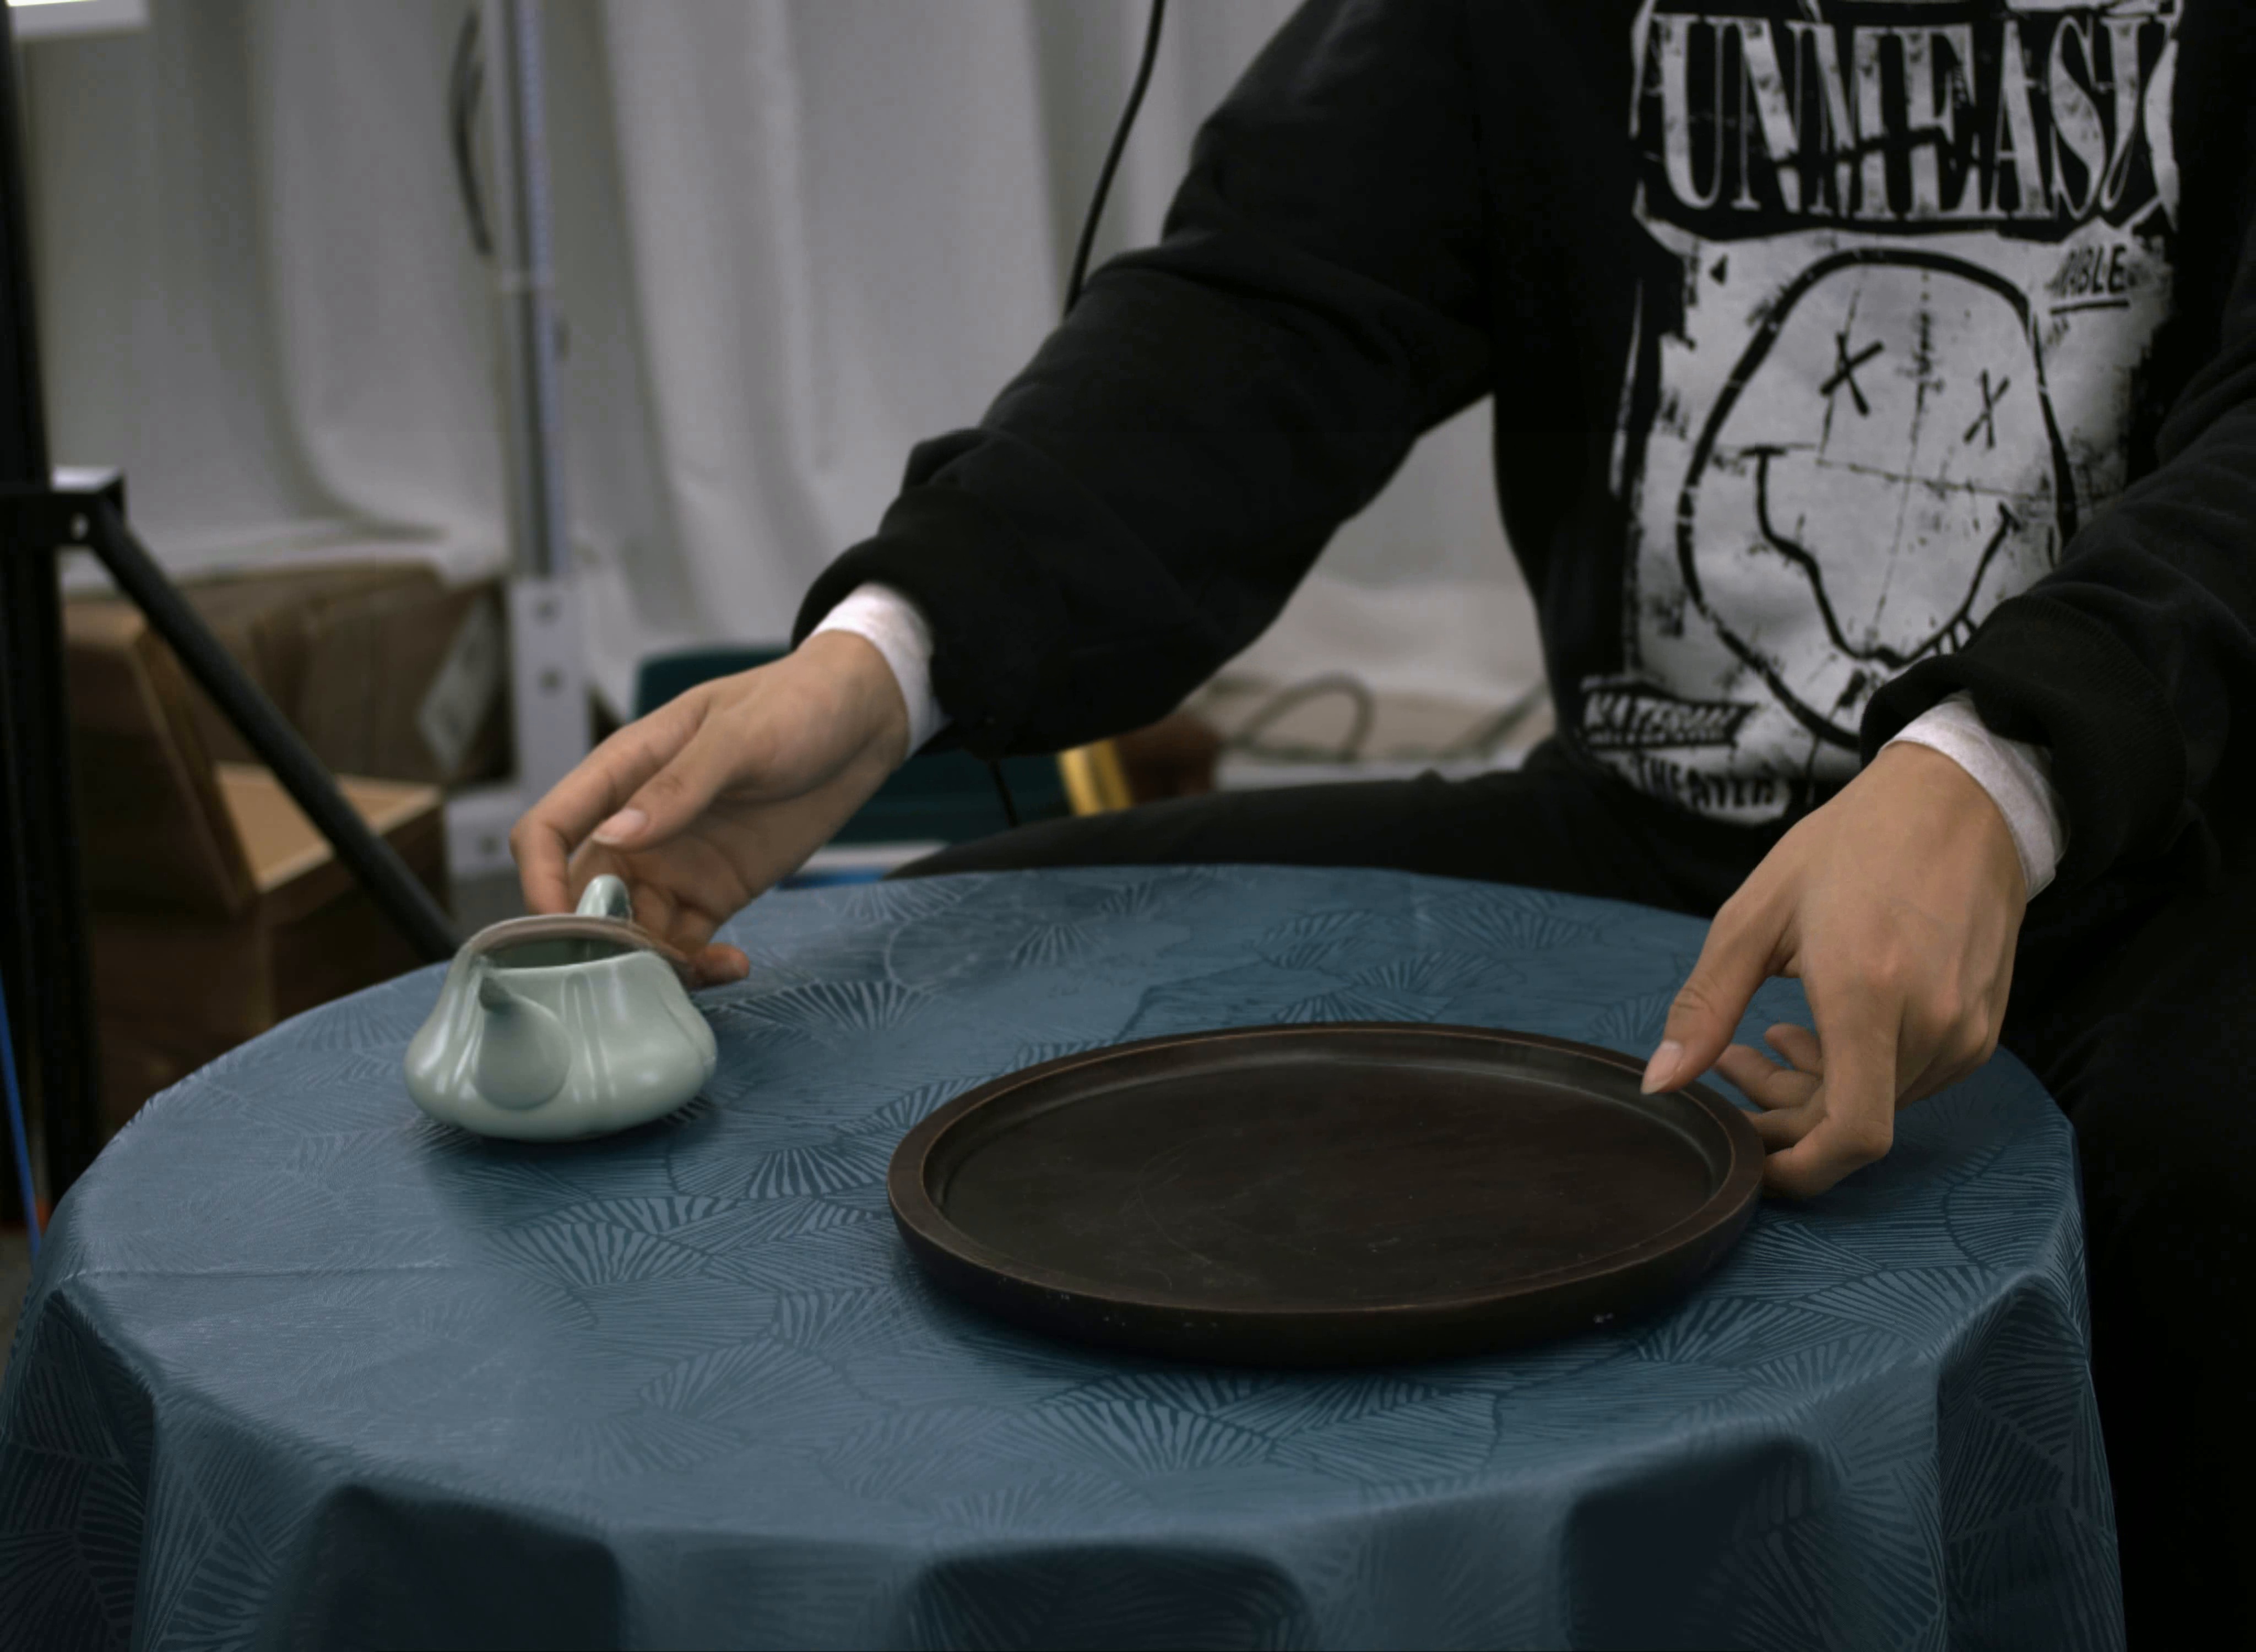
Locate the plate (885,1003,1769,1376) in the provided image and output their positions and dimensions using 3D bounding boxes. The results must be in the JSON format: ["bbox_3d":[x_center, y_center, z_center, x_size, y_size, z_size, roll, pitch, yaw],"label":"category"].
[{"bbox_3d":[0.057,0.104,1.515,0.253,0.029,0.256,-4,16,0],"label":"plate"}]

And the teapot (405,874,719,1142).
[{"bbox_3d":[-0.174,0.059,1.646,0.096,0.061,0.136,-1,16,10],"label":"teapot"}]
